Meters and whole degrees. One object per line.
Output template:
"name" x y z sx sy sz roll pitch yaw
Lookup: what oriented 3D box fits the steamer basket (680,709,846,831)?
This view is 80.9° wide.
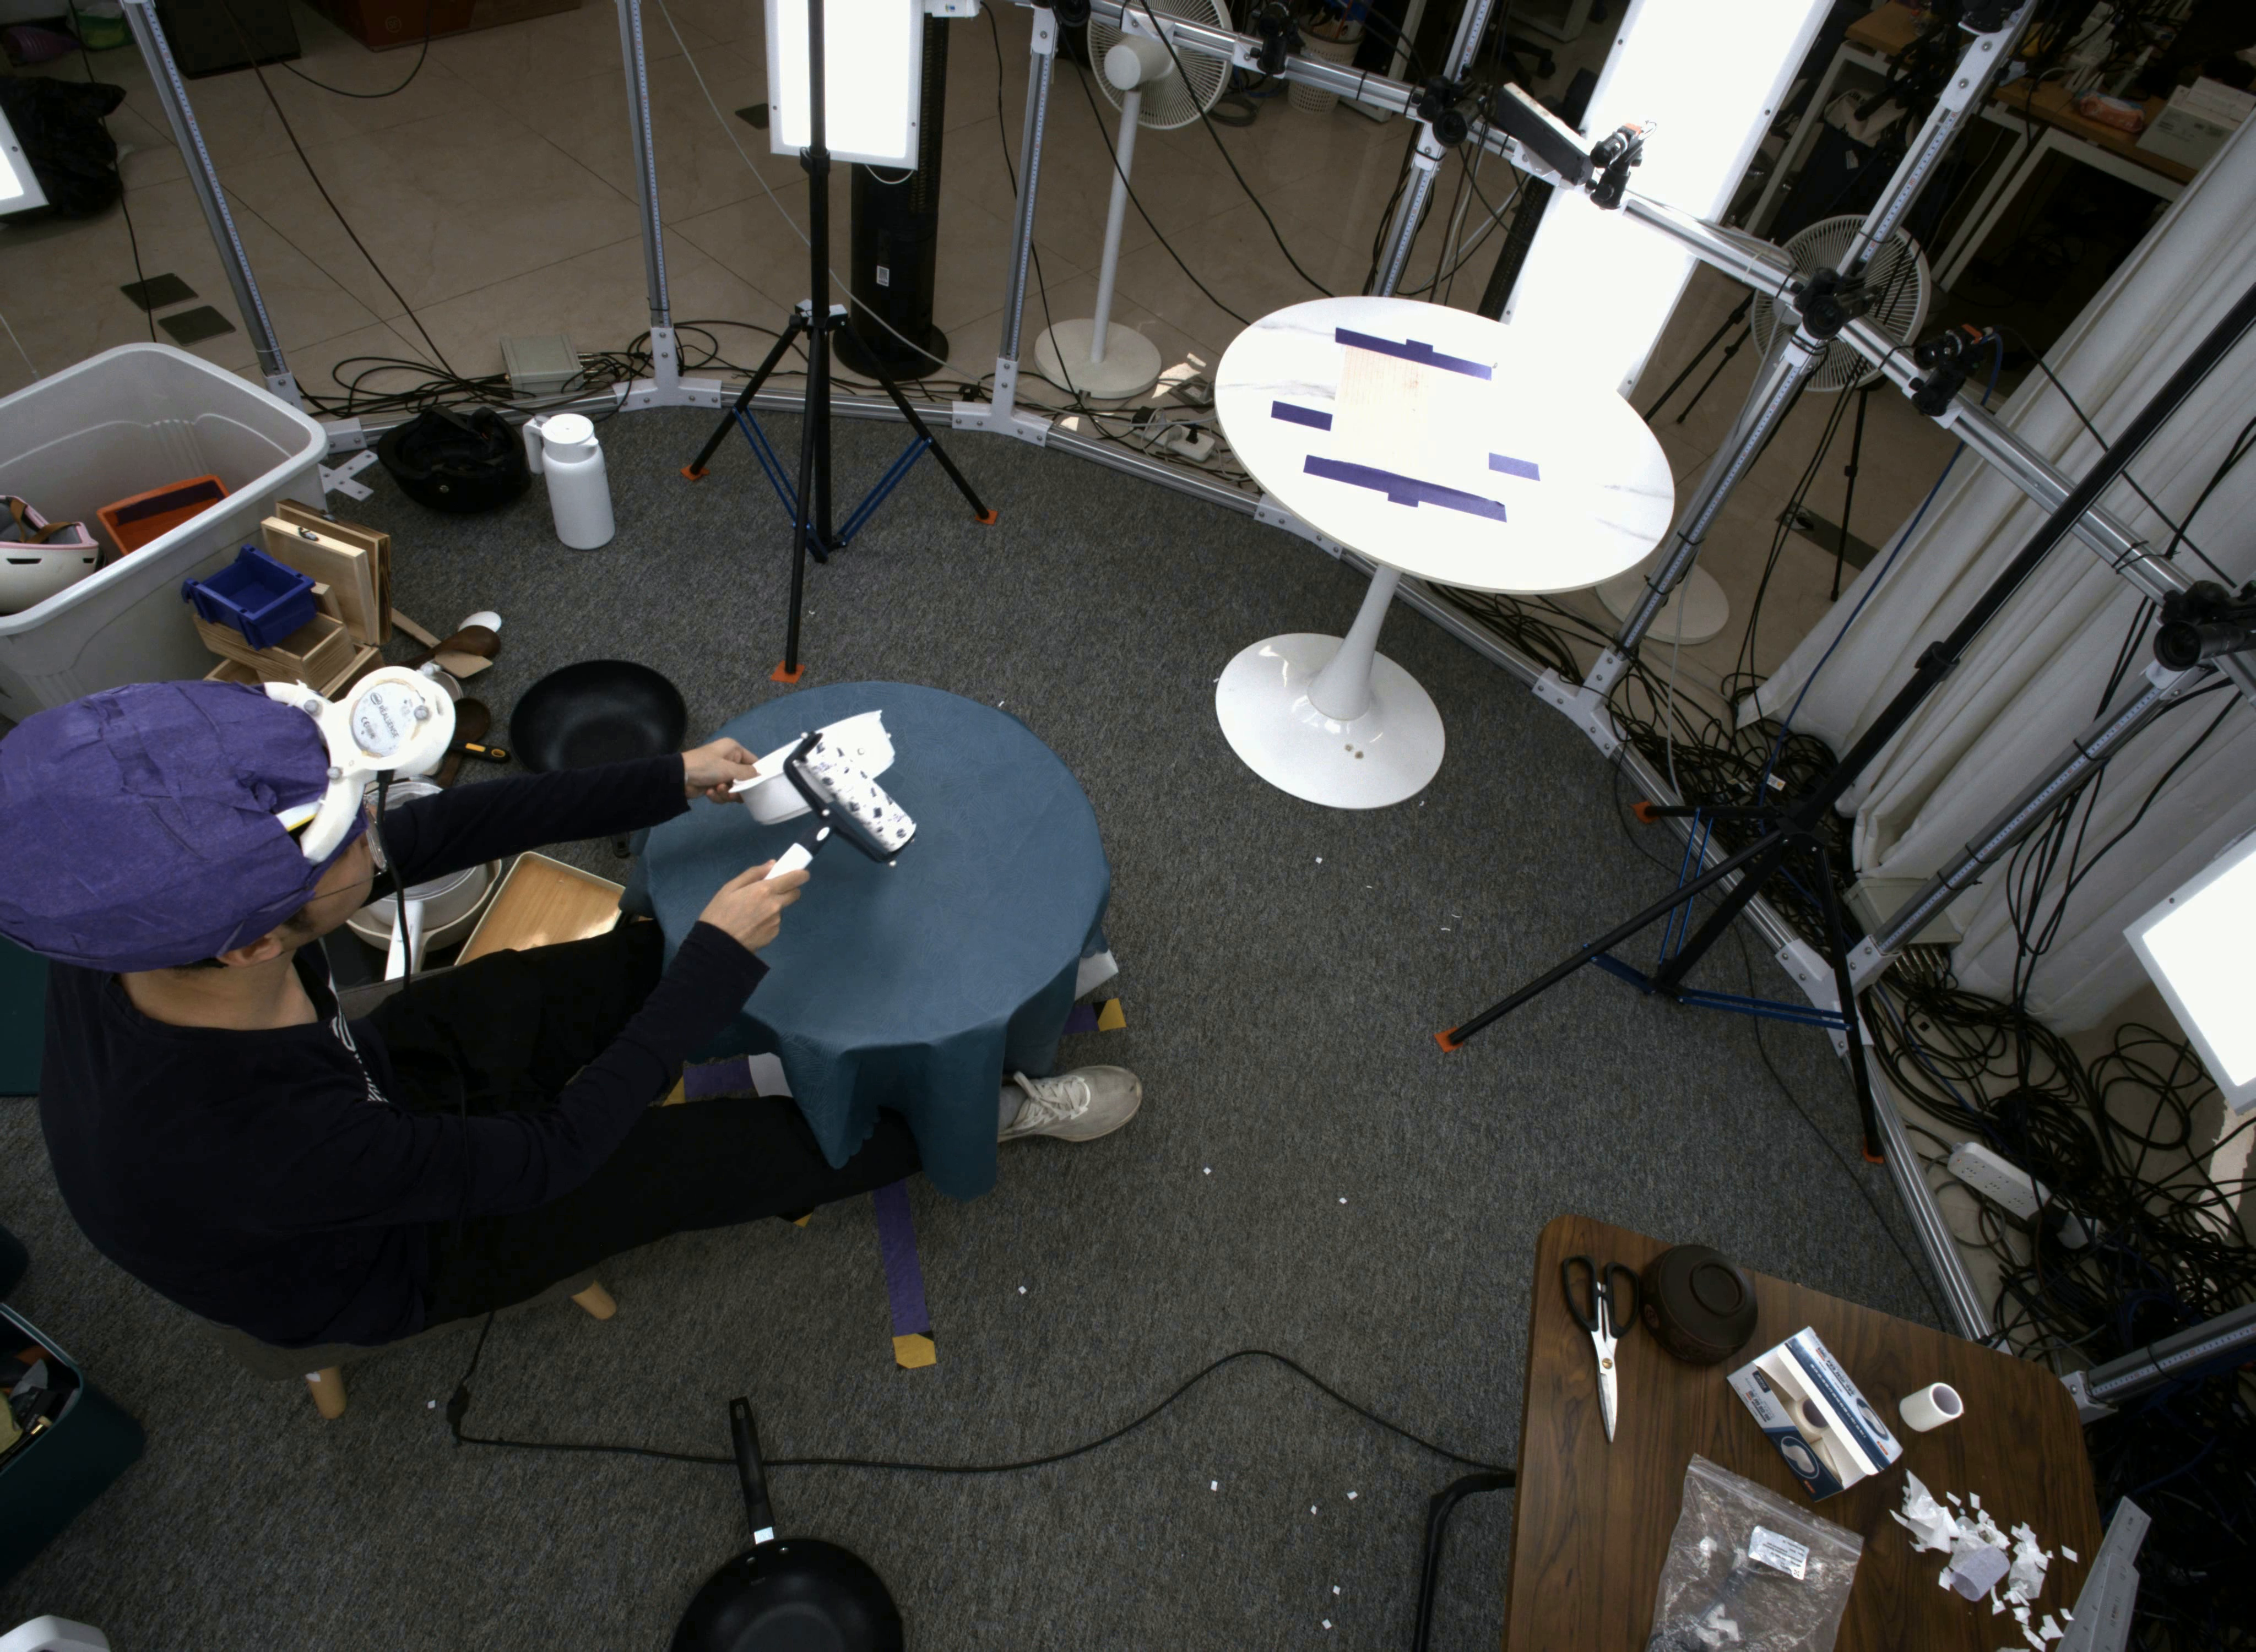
"steamer basket" -0.447 -0.068 1.608 0.230 0.196 0.071 -42 113 -43

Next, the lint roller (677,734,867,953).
"lint roller" -0.430 0.042 1.482 0.182 0.049 0.247 46 67 -30
